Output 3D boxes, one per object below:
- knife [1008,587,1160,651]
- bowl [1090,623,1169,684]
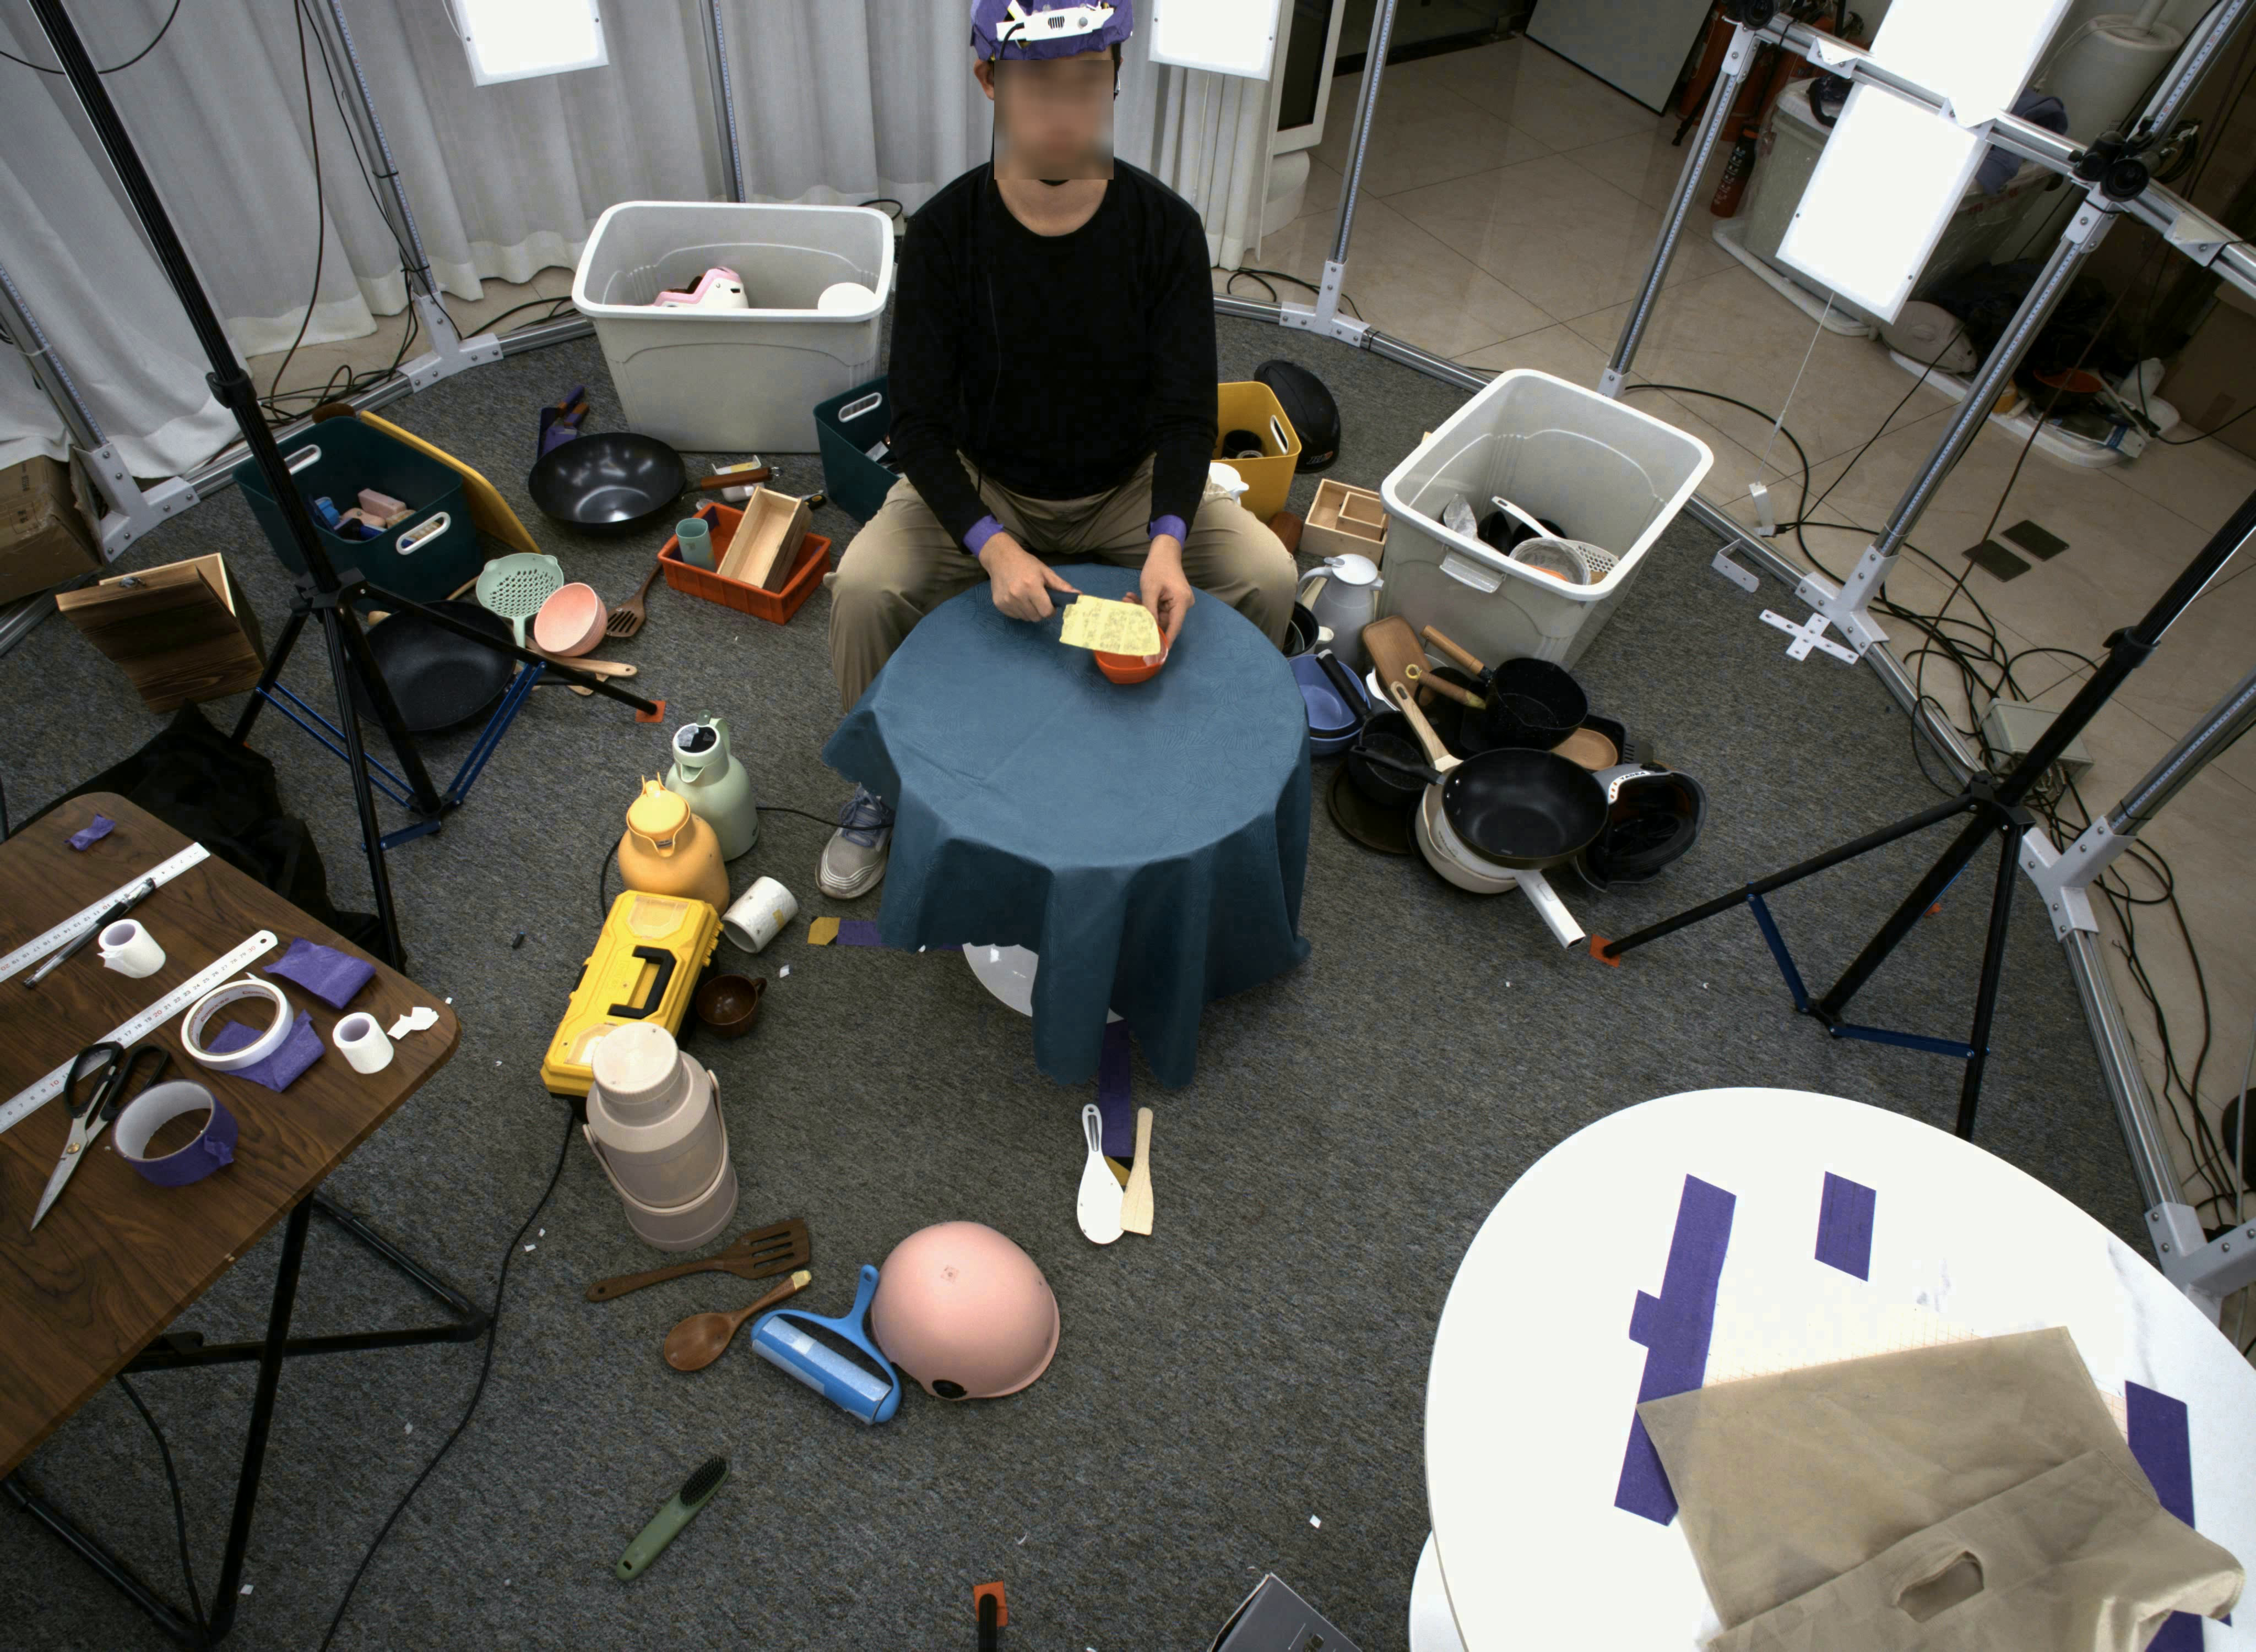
[{"bbox_3d":[-0.067,-0.298,1.841,0.293,0.027,0.081,19,91,36],"label":"knife"},{"bbox_3d":[0.001,-0.247,1.849,0.119,0.050,0.122,1,50,-1],"label":"bowl"}]
